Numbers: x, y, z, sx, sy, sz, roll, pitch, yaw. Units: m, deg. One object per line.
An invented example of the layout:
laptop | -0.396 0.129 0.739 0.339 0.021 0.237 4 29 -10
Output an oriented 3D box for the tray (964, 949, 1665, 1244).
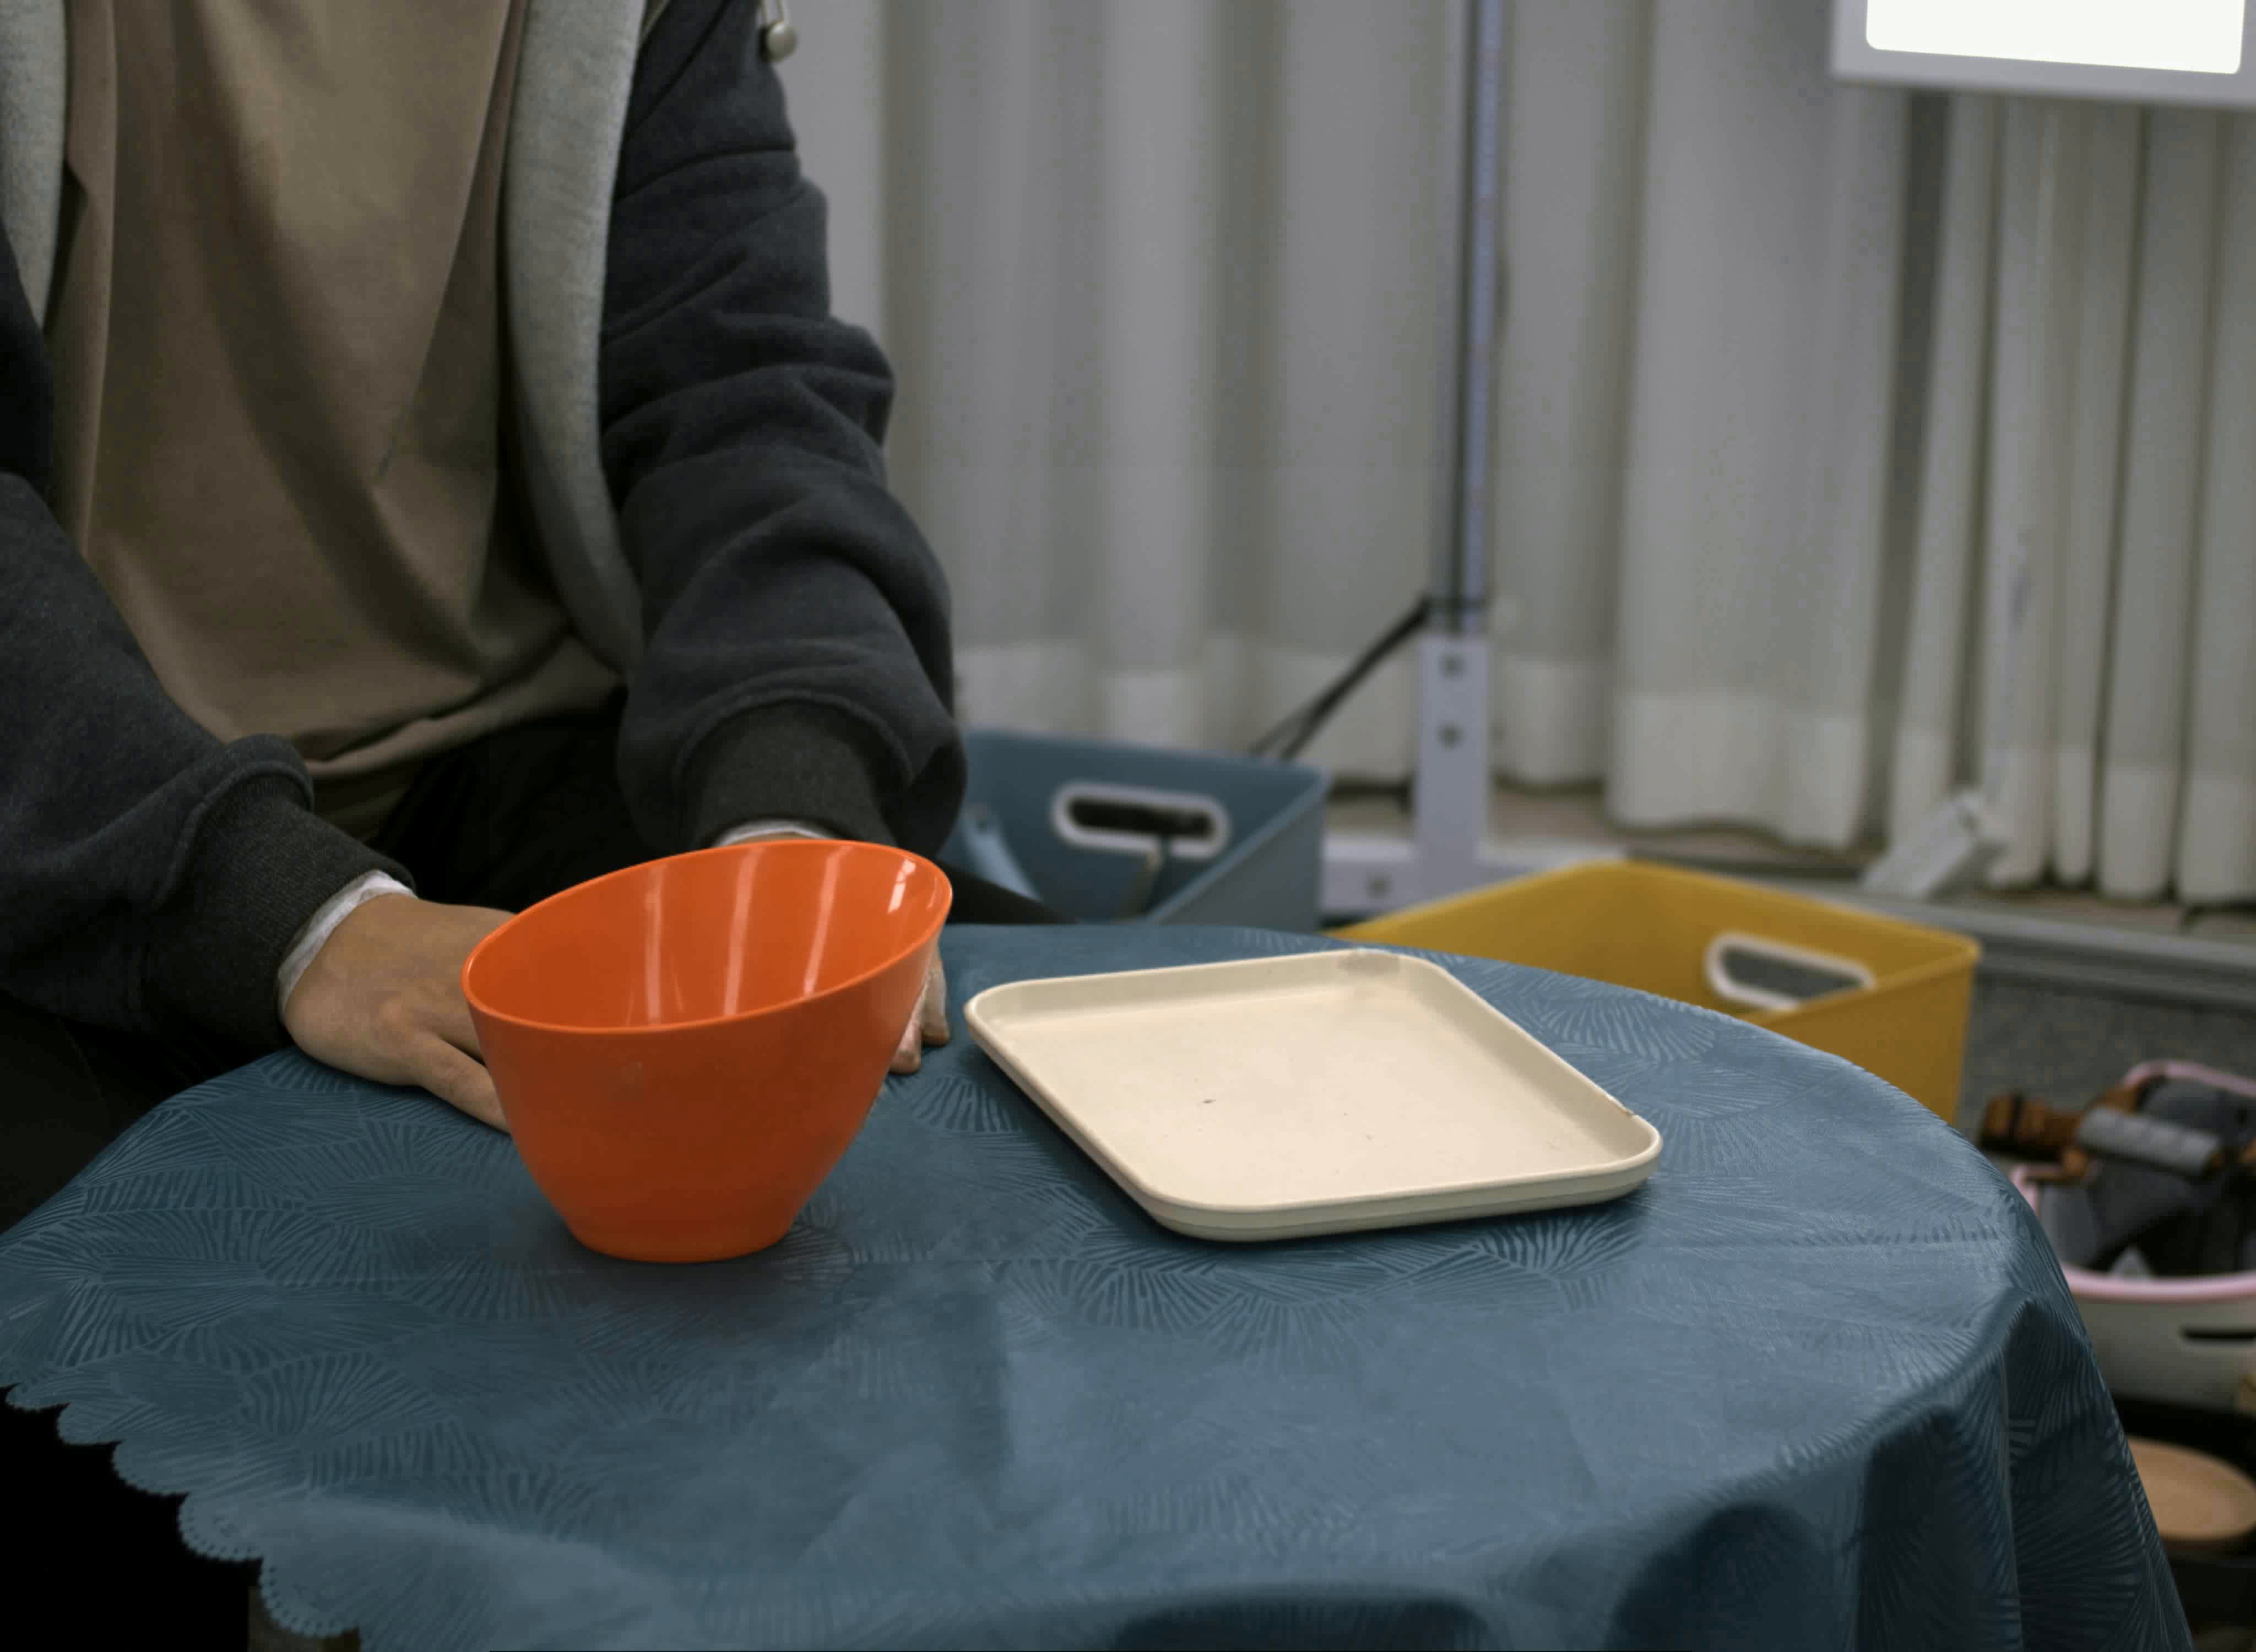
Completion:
tray | 0.056 0.085 1.689 0.171 0.017 0.237 -5 17 -18

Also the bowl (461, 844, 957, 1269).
bowl | -0.125 0.071 1.577 0.147 0.105 0.147 2 17 0
